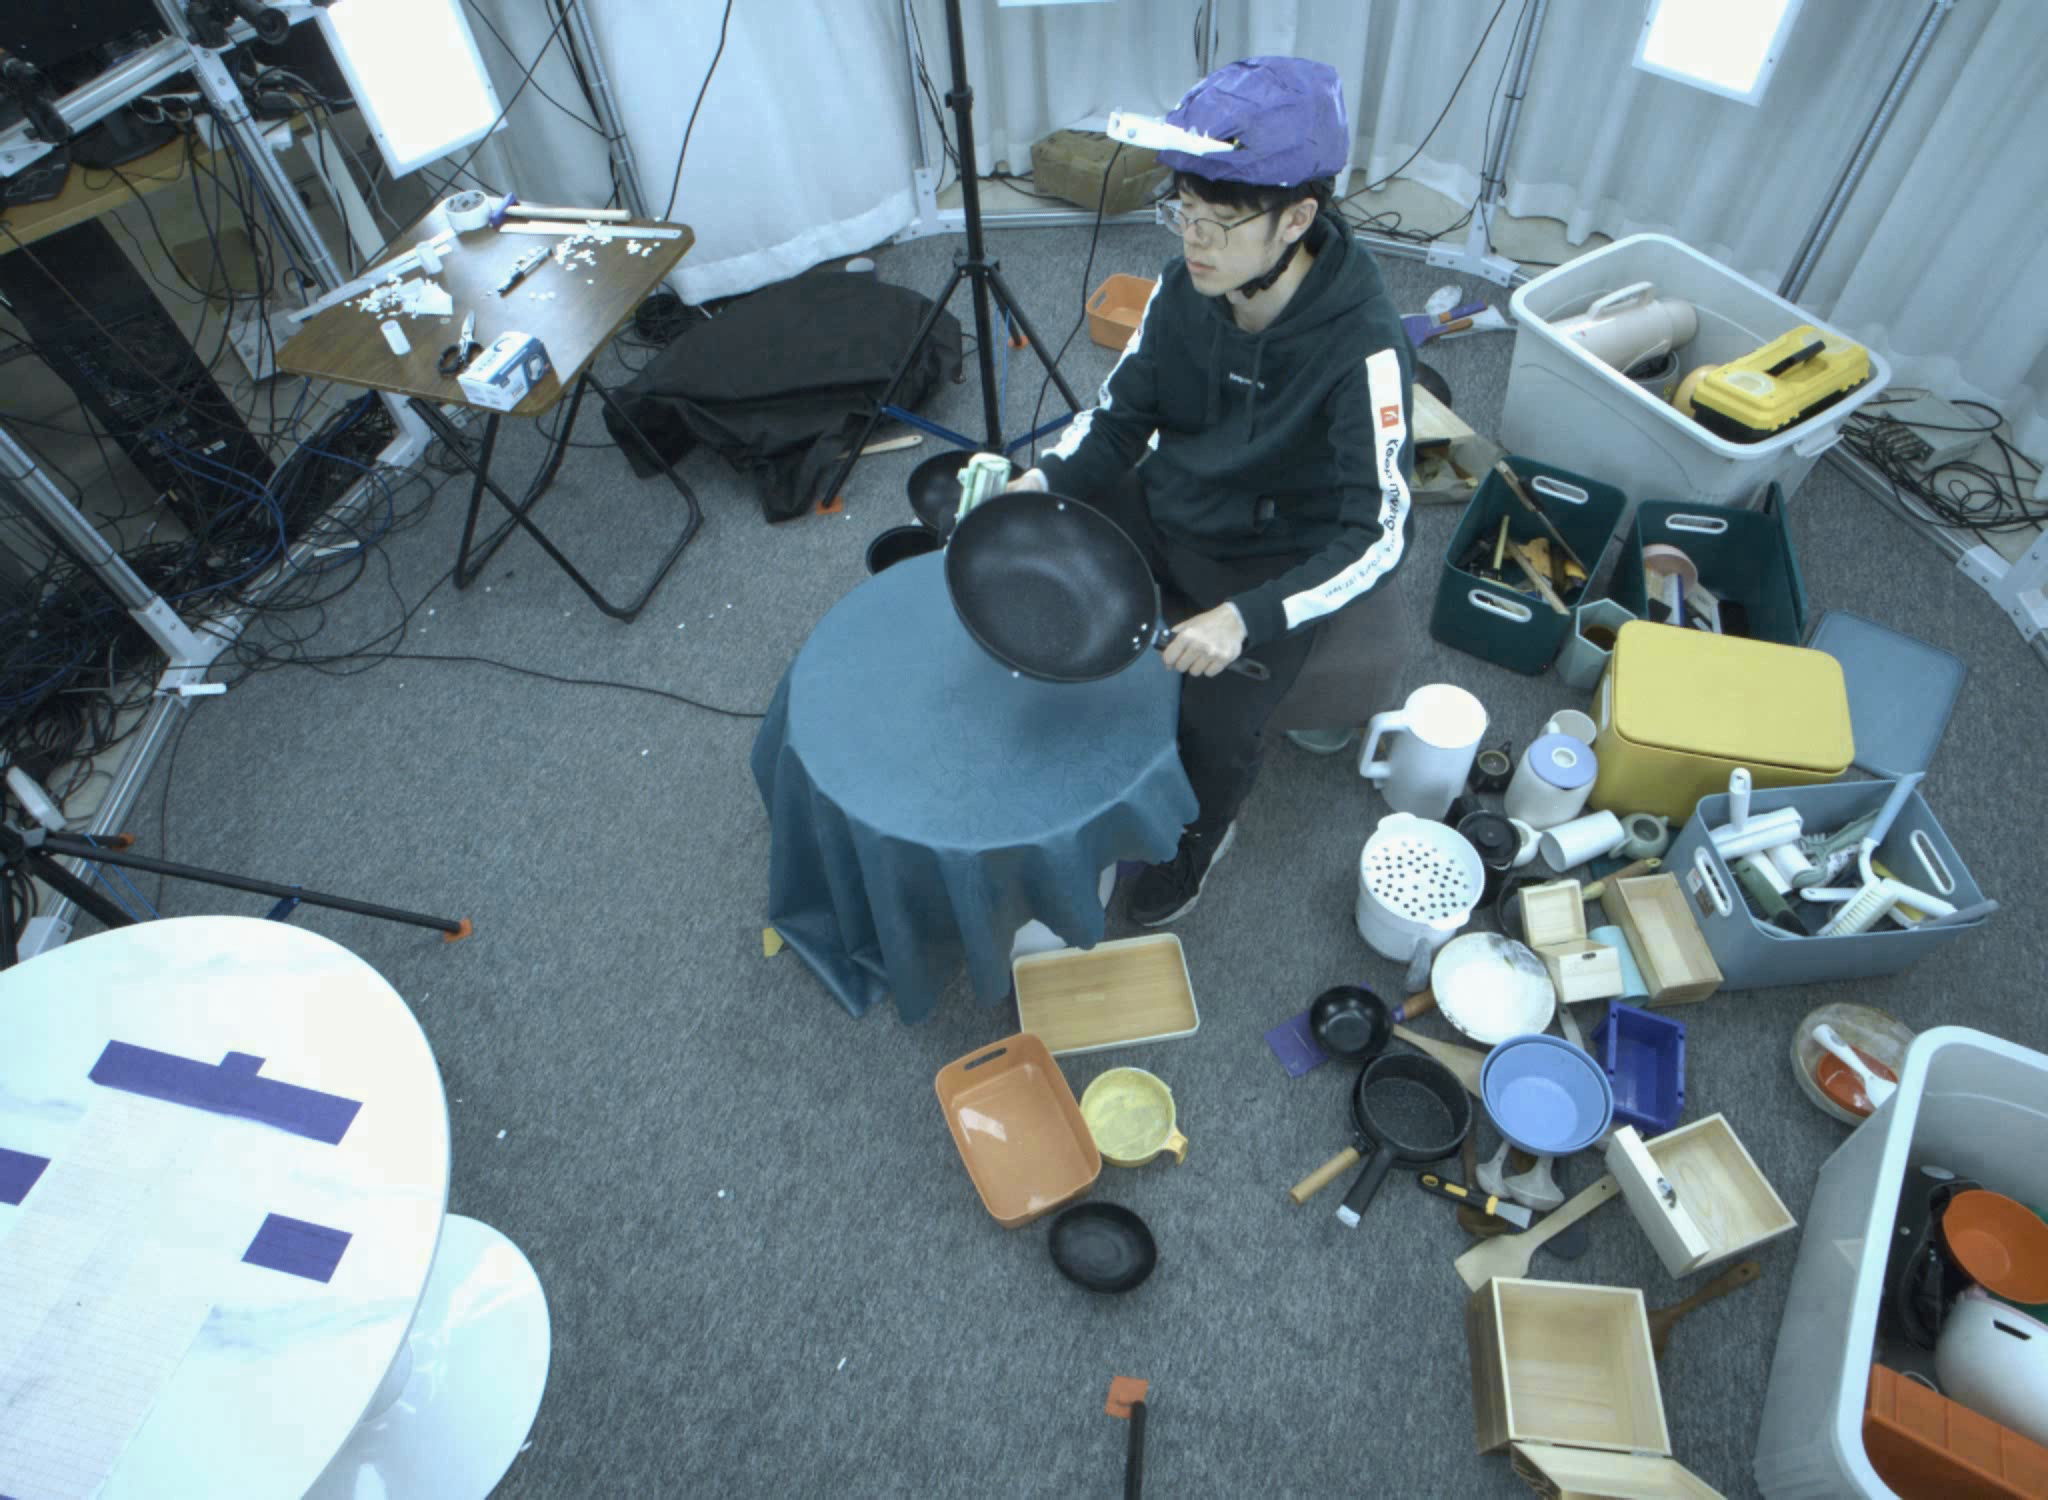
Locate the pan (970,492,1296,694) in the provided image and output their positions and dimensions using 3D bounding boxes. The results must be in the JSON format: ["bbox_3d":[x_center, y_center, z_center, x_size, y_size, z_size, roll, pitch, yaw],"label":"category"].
[{"bbox_3d":[0.143,-0.173,1.695,0.480,0.111,0.310,27,60,-7],"label":"pan"}]

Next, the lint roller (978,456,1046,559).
[{"bbox_3d":[-0.002,-0.342,1.787,0.081,0.199,0.185,23,29,16],"label":"lint roller"}]
